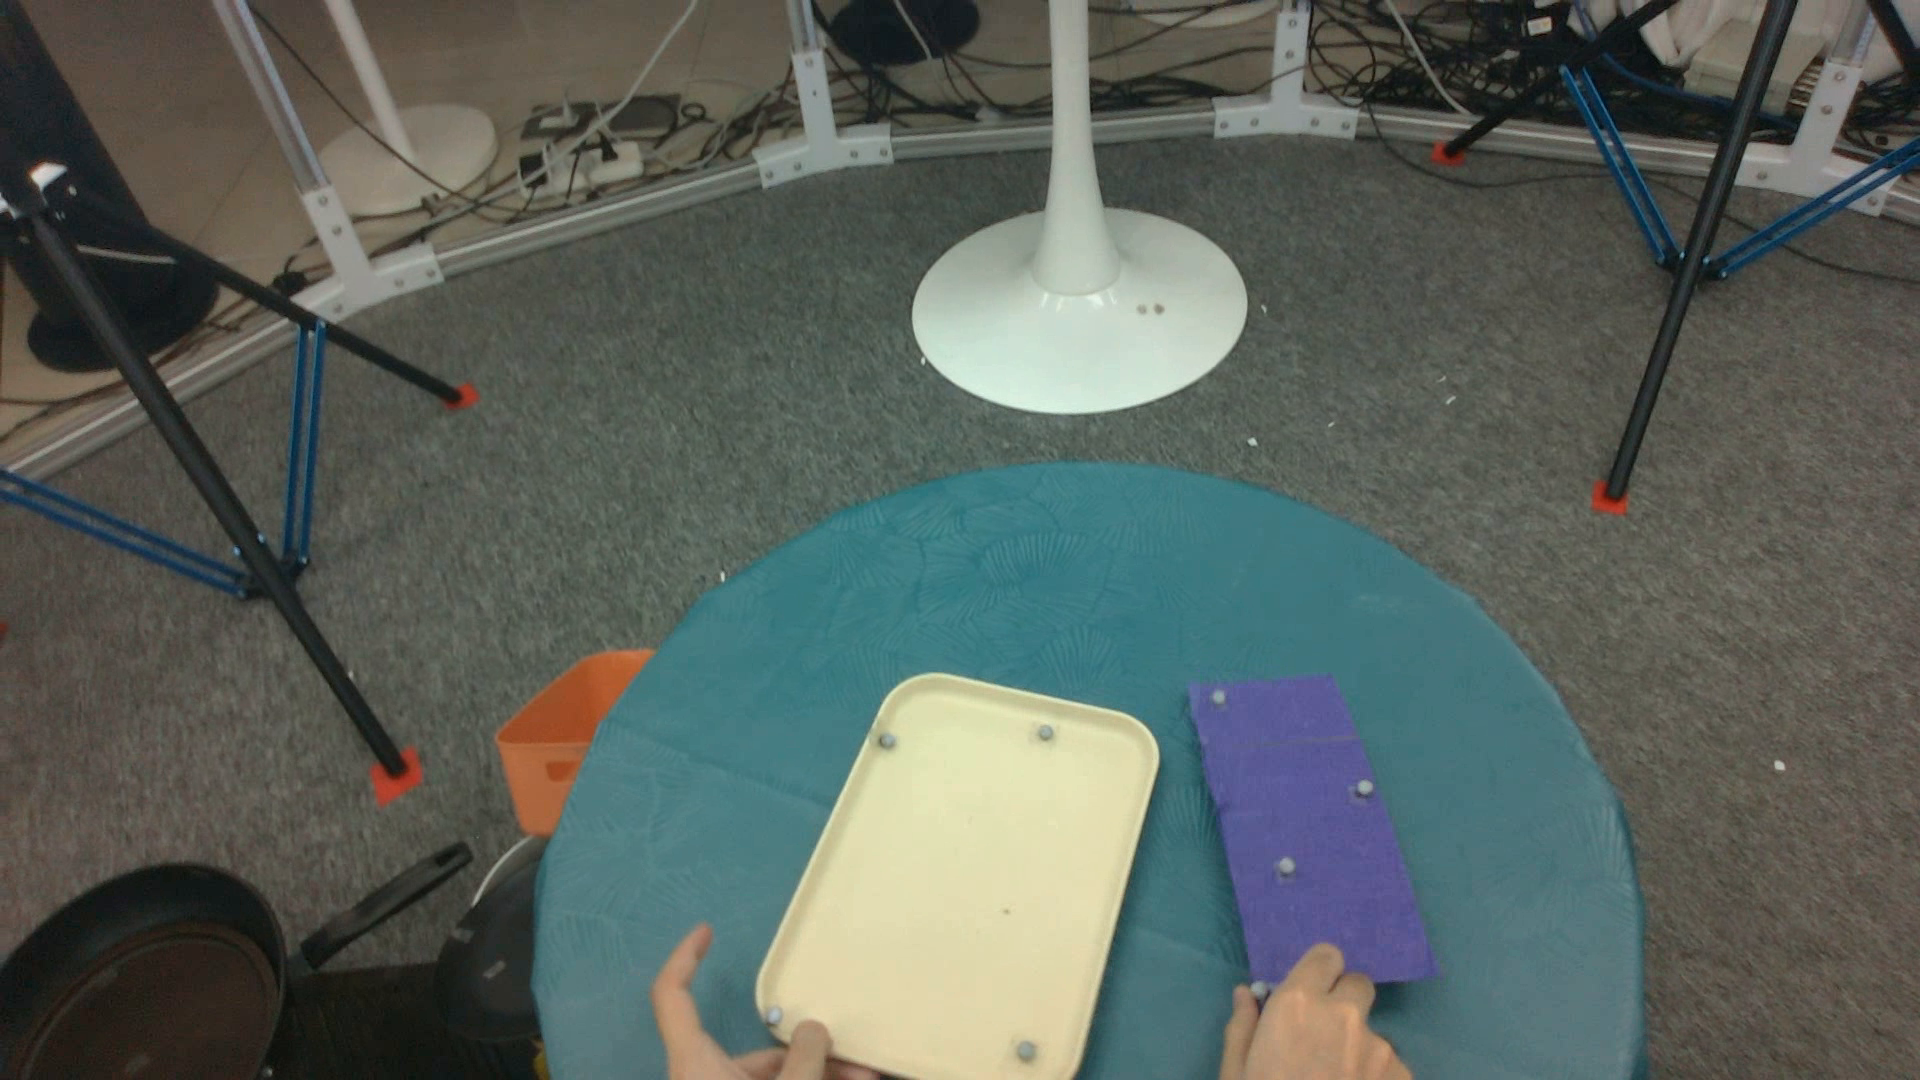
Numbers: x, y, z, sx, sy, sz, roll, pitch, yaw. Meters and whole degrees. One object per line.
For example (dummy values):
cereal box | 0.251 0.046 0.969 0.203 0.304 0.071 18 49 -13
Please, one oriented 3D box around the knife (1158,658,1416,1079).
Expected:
knife | 0.179 0.175 0.714 0.104 0.032 0.316 -7 41 2

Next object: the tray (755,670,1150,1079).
tray | 0.003 0.175 0.751 0.171 0.017 0.241 10 46 14
